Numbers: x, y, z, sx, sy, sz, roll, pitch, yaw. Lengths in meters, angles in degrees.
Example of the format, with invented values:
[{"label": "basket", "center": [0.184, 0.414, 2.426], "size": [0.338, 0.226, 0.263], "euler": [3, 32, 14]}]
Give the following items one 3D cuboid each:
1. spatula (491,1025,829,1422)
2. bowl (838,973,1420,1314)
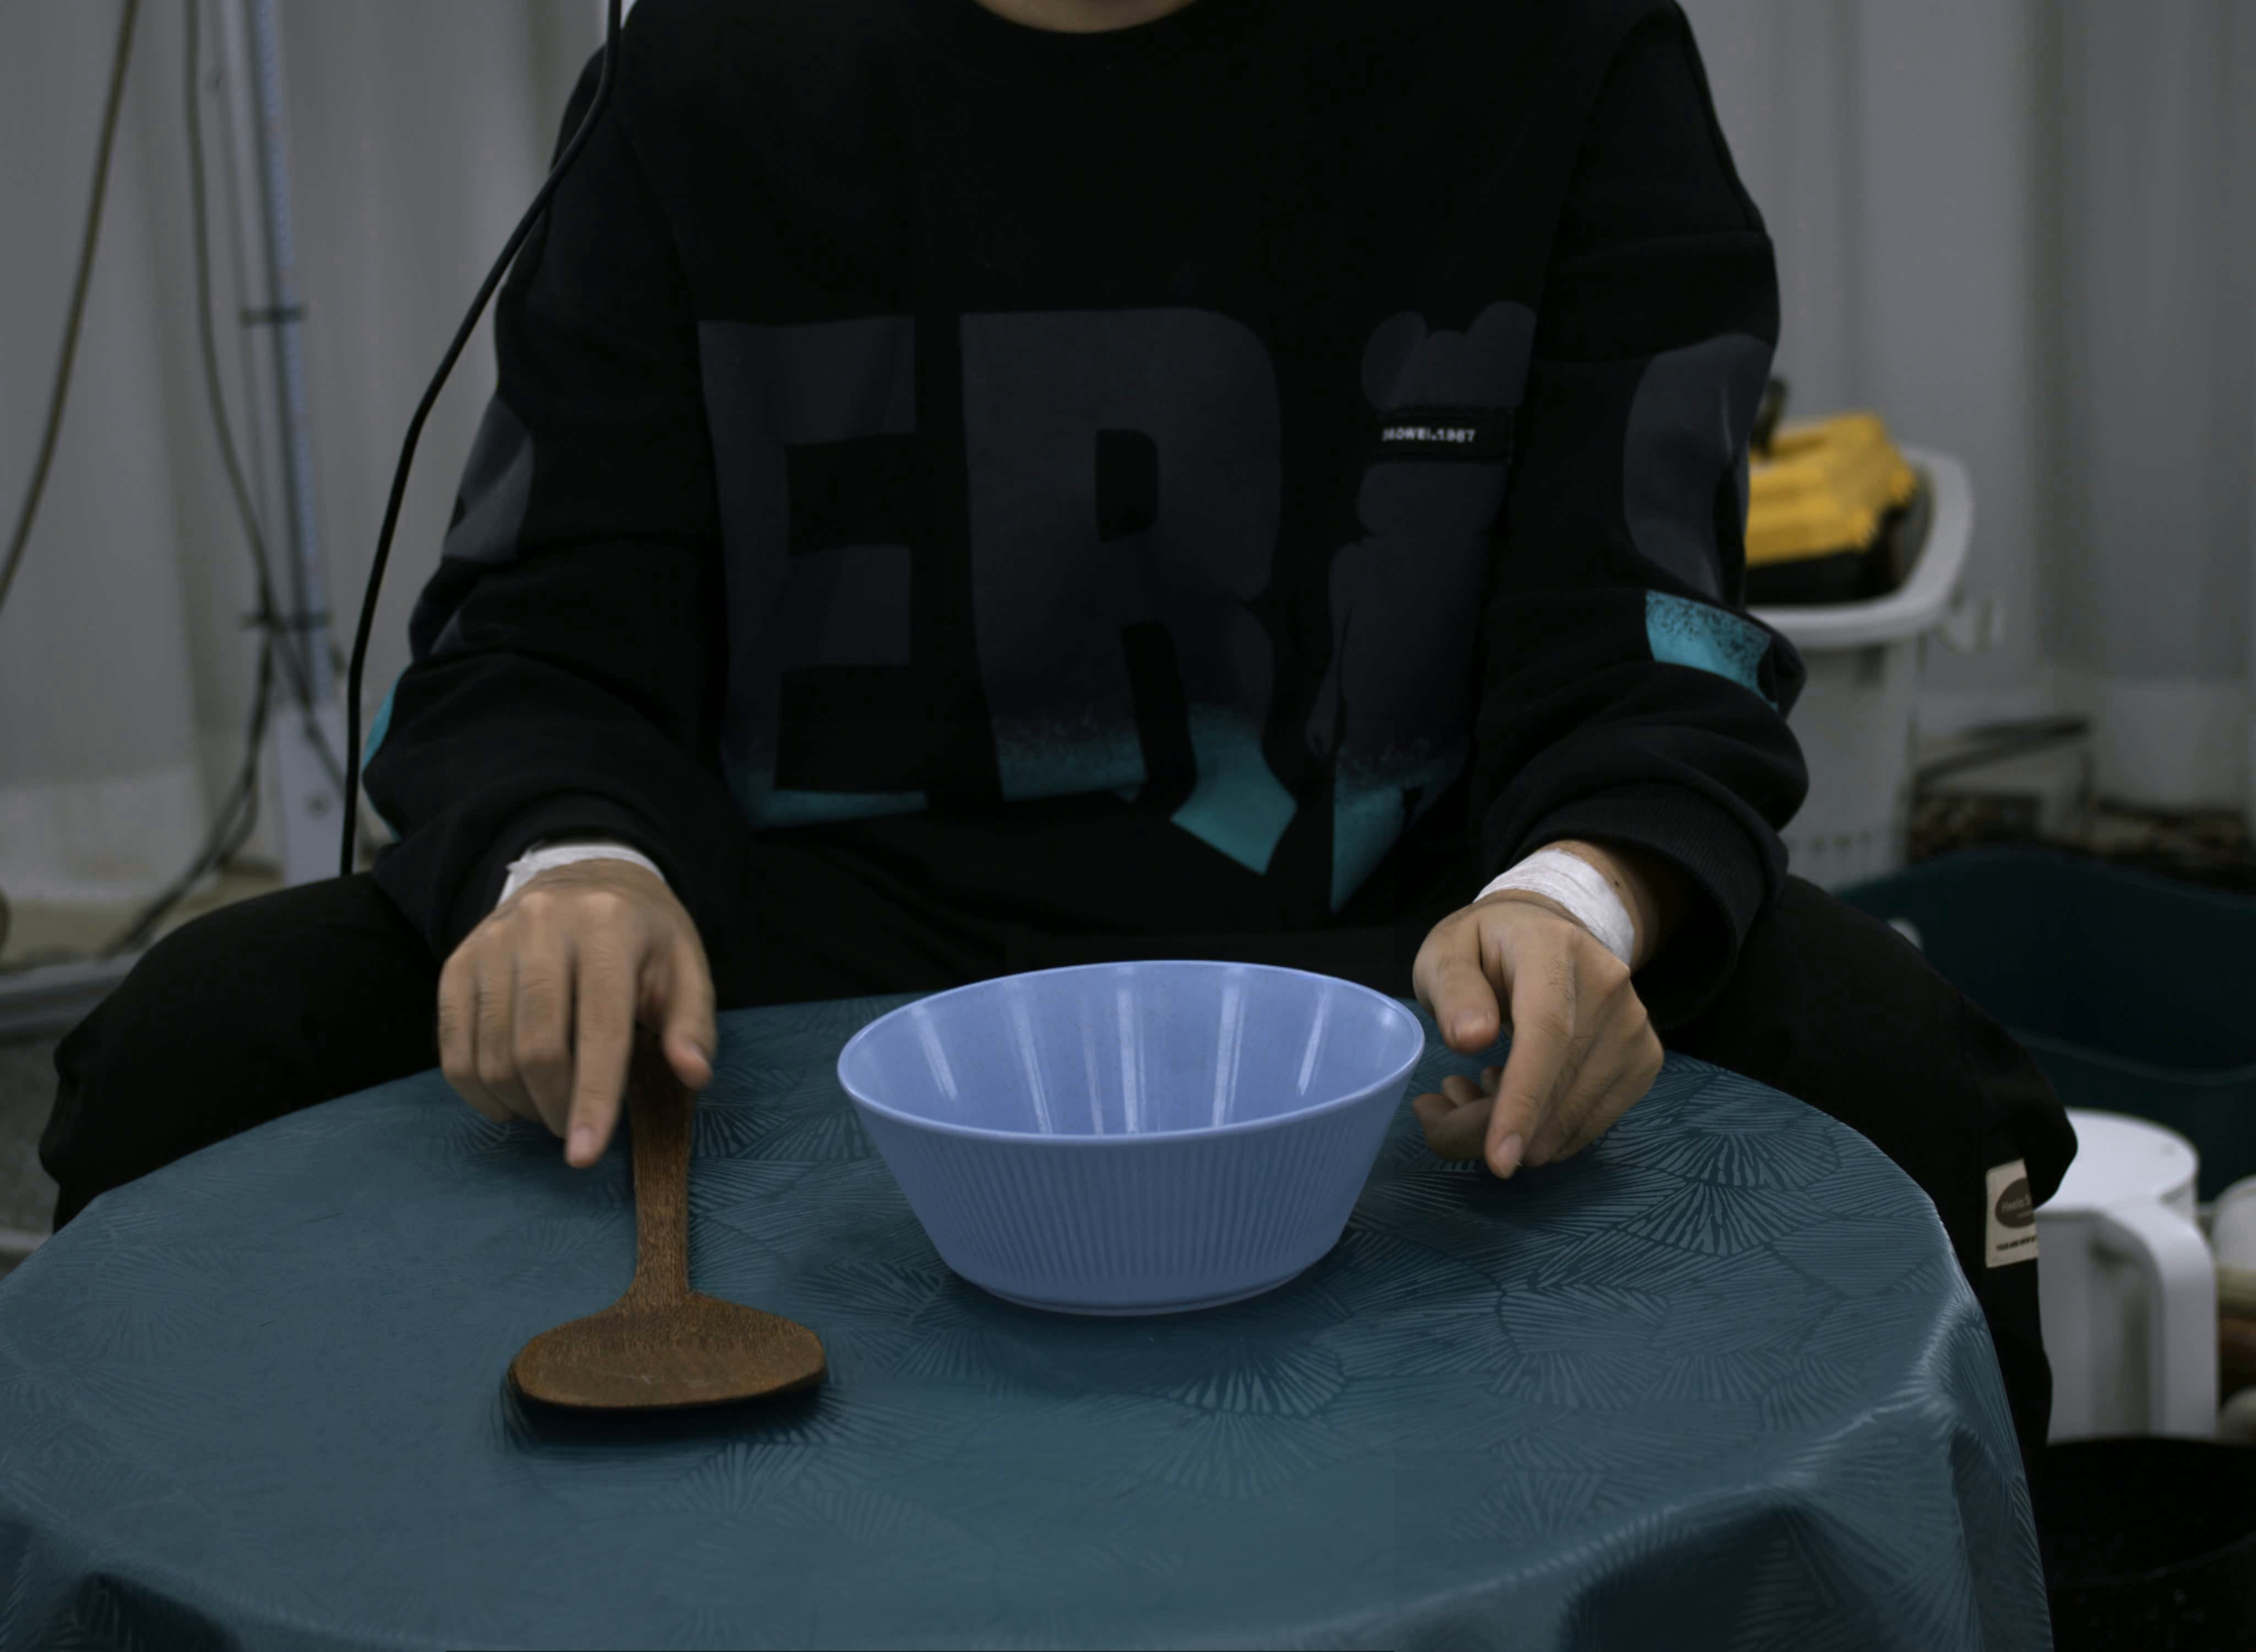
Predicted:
[{"label": "spatula", "center": [-0.146, 0.118, 1.705], "size": [0.096, 0.016, 0.389], "euler": [-3, 15, -4]}, {"label": "bowl", "center": [0.001, 0.098, 1.645], "size": [0.175, 0.070, 0.177], "euler": [-2, 13, 0]}]
